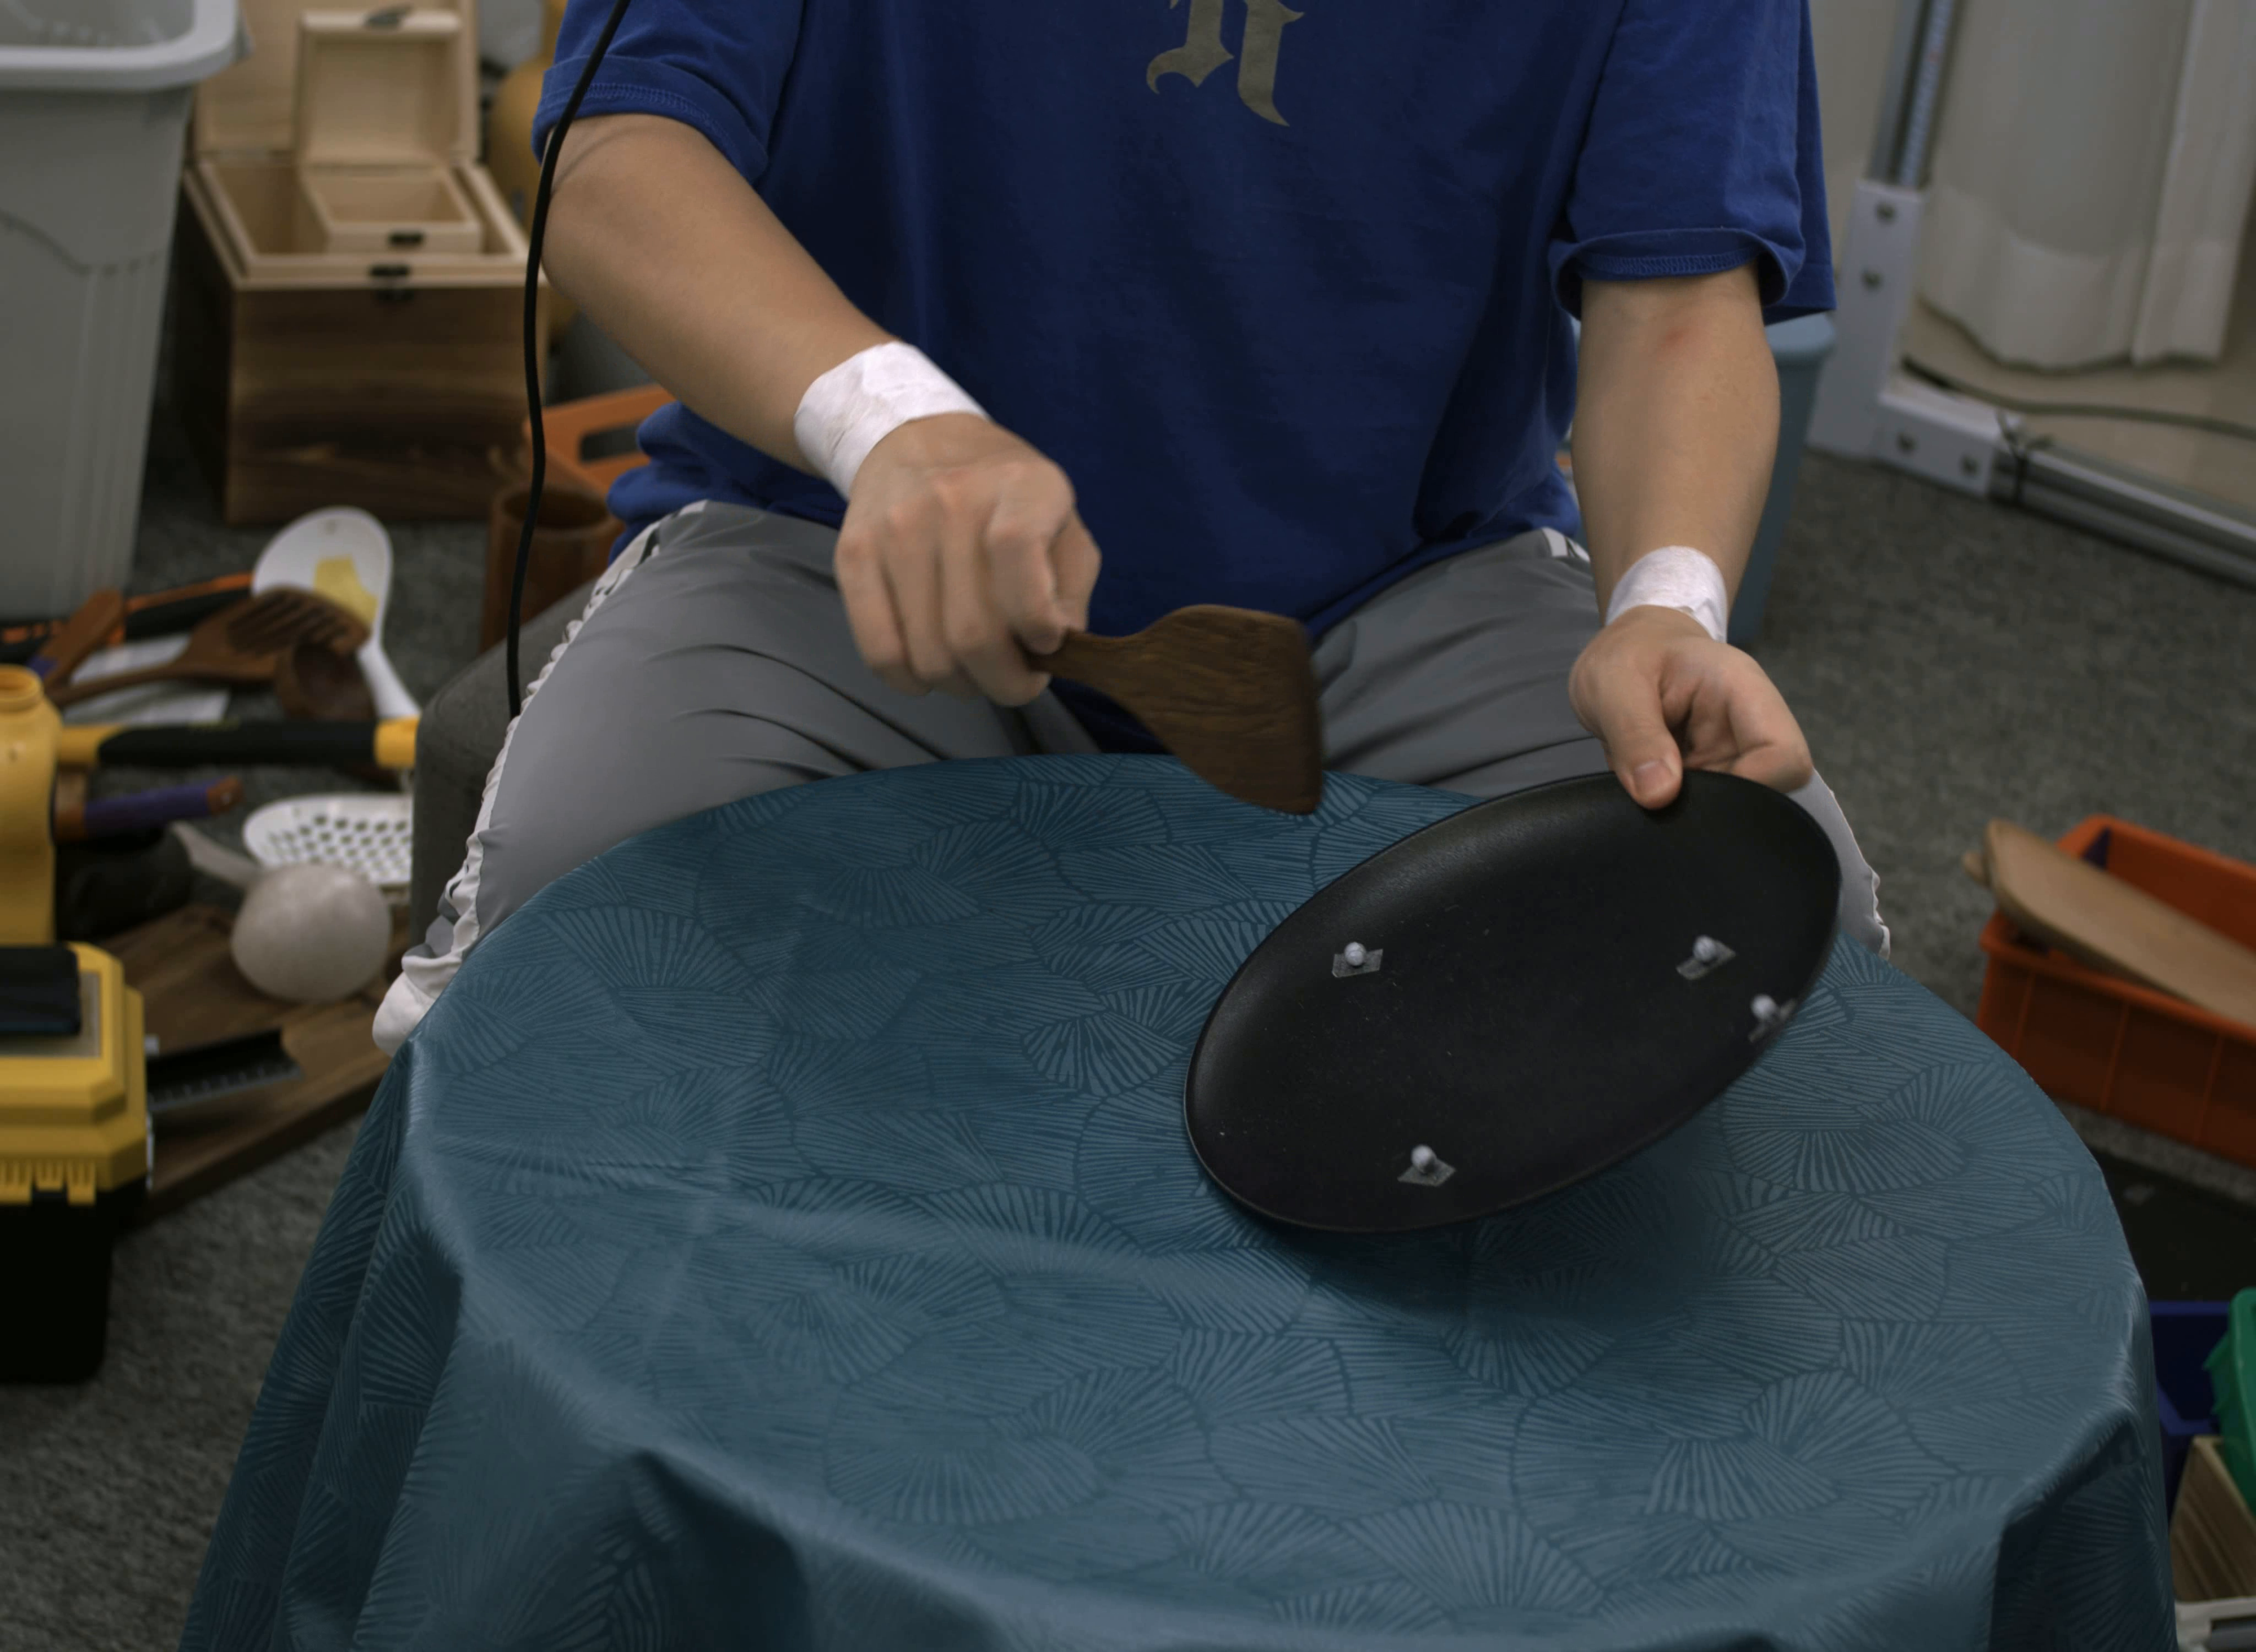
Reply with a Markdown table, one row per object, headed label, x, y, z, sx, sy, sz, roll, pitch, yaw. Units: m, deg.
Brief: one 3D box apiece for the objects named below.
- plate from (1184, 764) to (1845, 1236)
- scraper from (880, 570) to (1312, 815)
| label | x | y | z | sx | sy | sz | roll | pitch | yaw |
| --- | --- | --- | --- | --- | --- | --- | --- | --- | --- |
| plate | 0.134 | 0.063 | 1.831 | 0.244 | 0.023 | 0.246 | -21 | 30 | 12 |
| scraper | -0.015 | -0.057 | 1.828 | 0.011 | 0.075 | 0.213 | -27 | 30 | -35 |
